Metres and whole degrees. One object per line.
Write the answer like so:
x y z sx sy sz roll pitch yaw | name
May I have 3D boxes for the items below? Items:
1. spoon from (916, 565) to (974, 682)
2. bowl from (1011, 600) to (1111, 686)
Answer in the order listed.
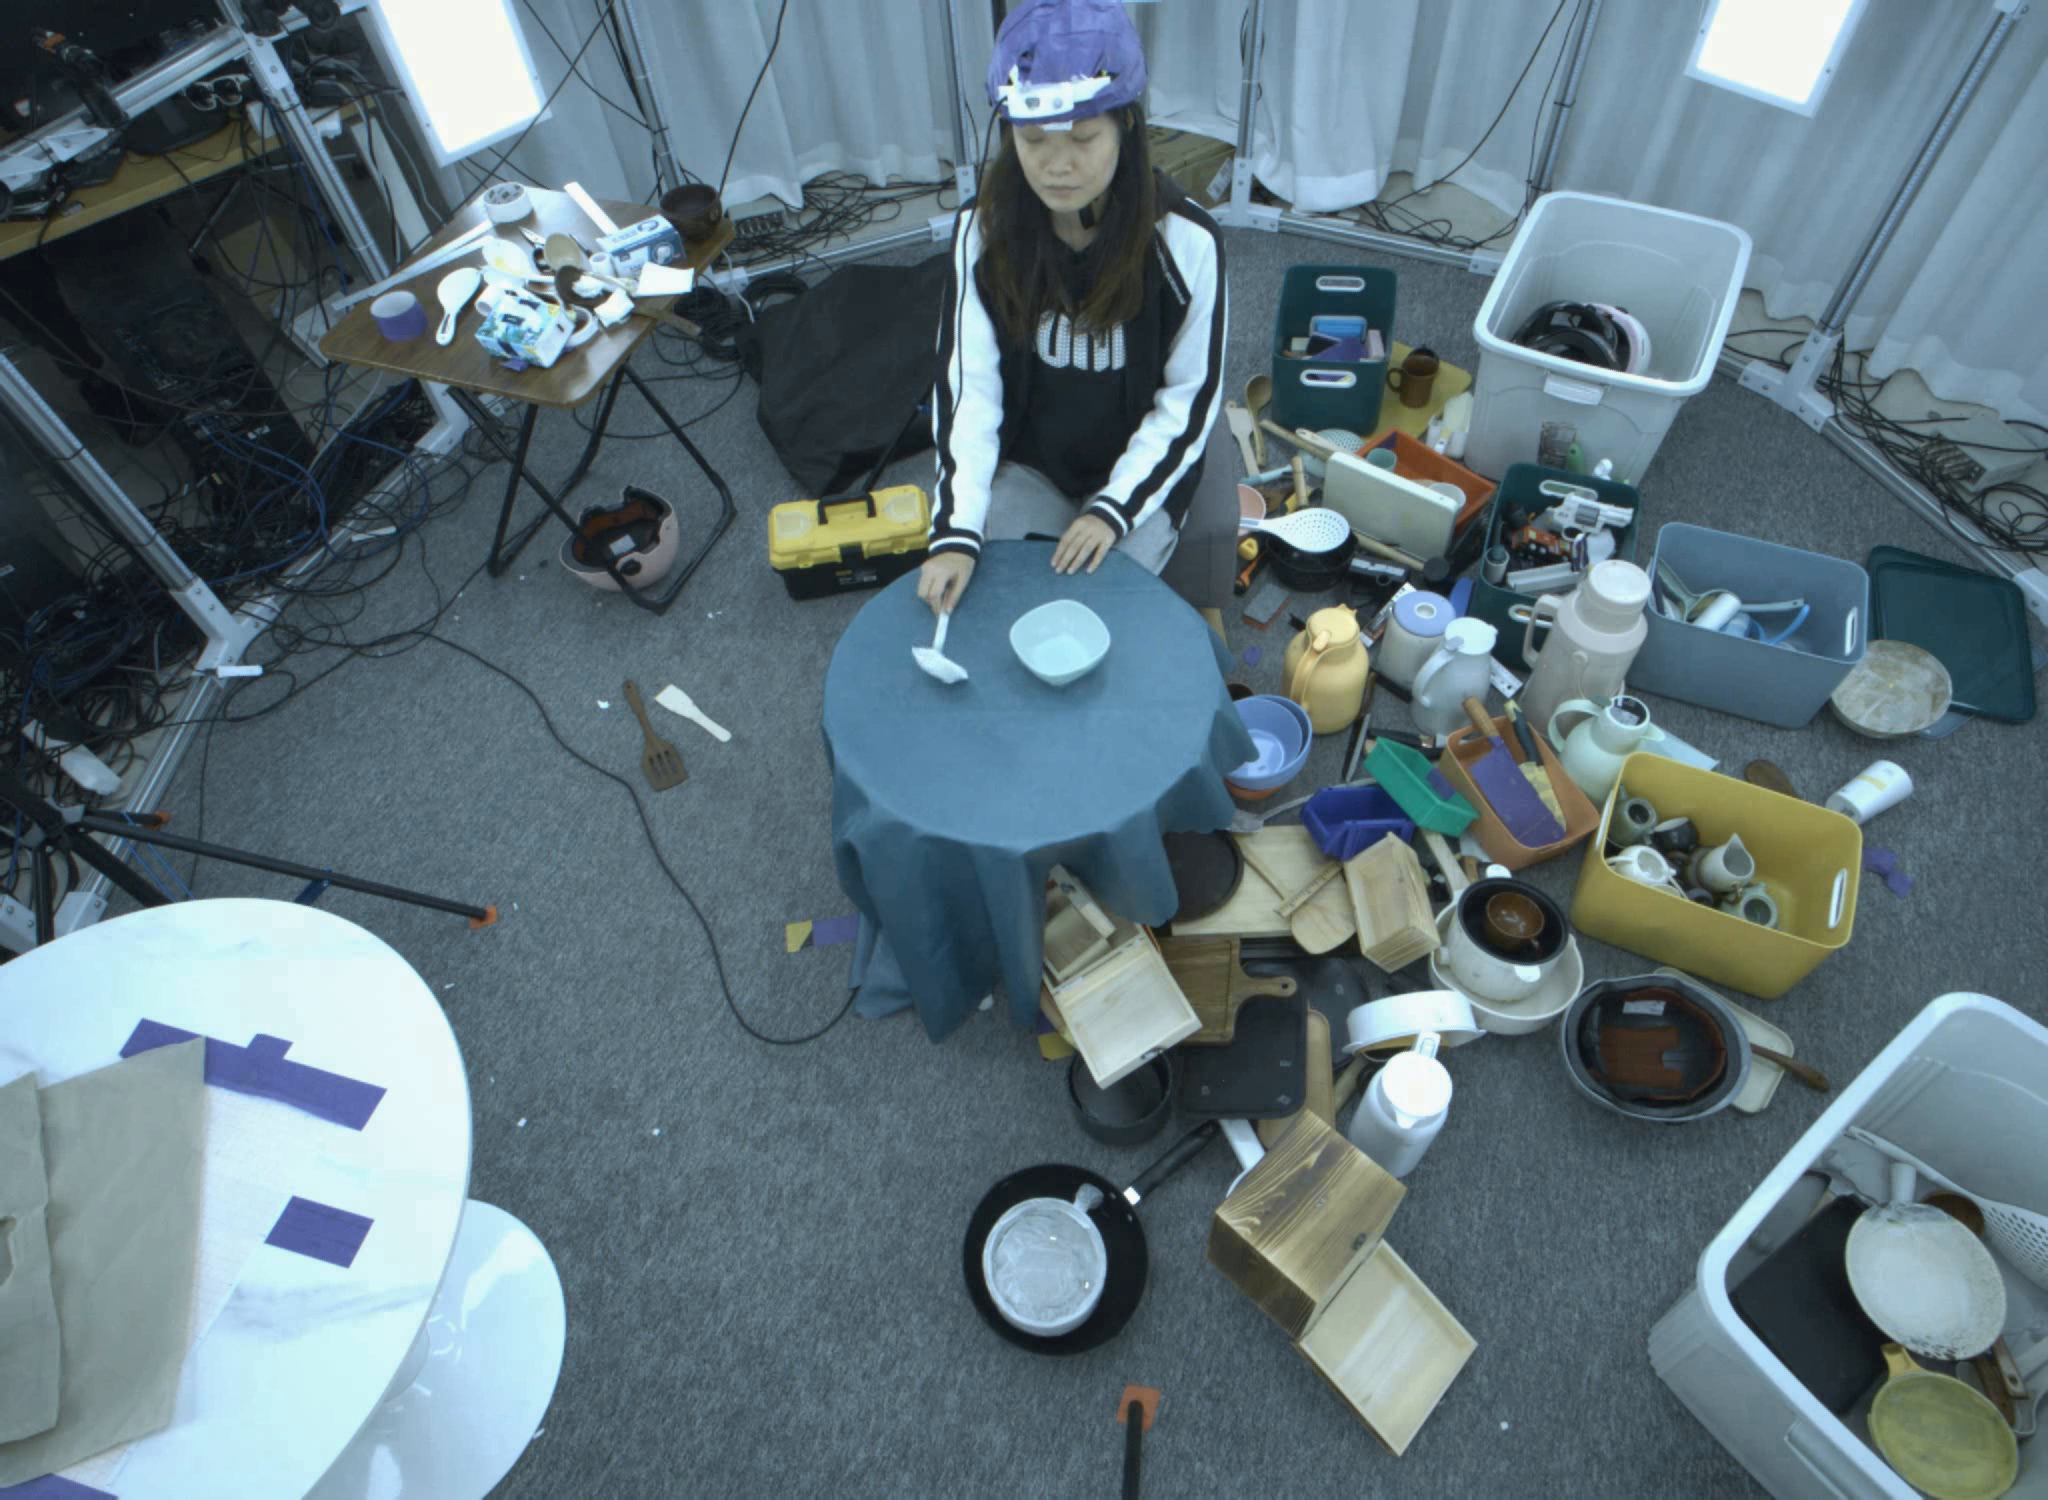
-0.107 -0.205 1.905 0.102 0.059 0.275 32 47 -24 | spoon
0.056 -0.153 1.861 0.151 0.059 0.150 -1 55 2 | bowl
